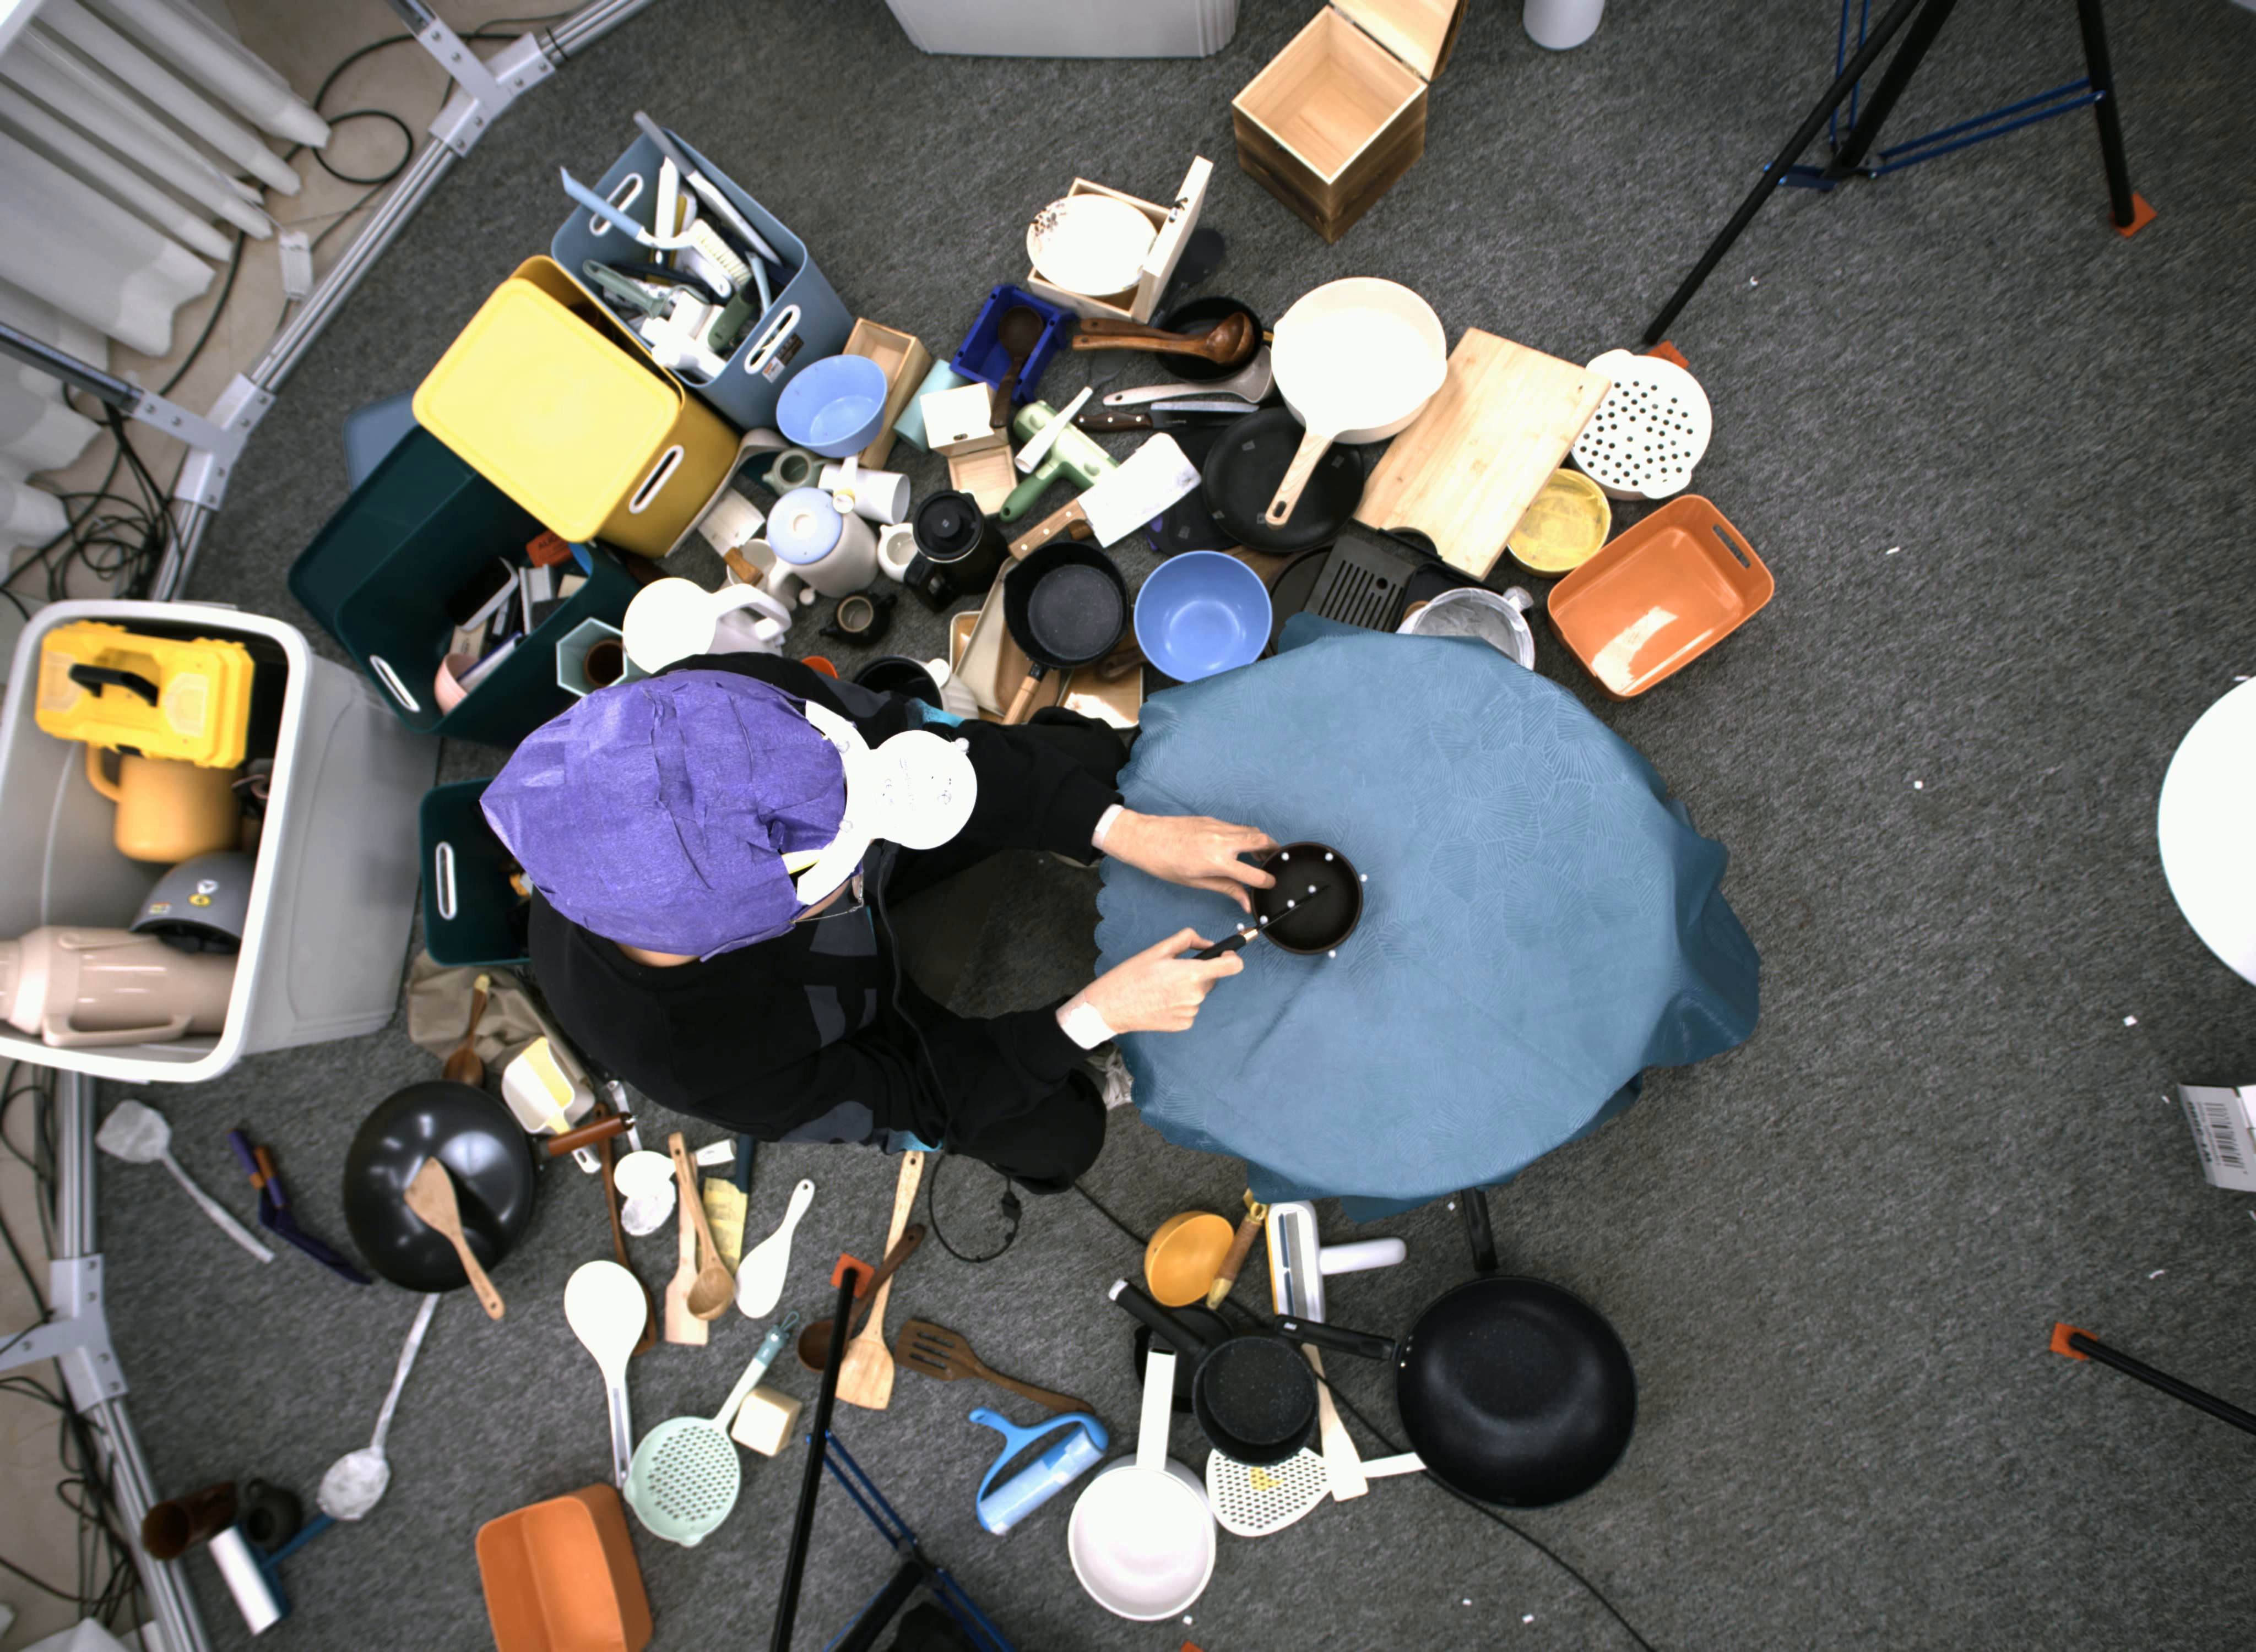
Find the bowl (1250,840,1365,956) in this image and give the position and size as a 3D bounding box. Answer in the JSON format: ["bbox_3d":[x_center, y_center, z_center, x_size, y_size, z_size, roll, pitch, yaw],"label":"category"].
[{"bbox_3d":[0.187,0.075,1.437,0.118,0.070,0.117,-1,84,12],"label":"bowl"}]

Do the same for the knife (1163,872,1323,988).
[{"bbox_3d":[0.121,0.102,1.396,0.222,0.018,0.026,-30,56,-27],"label":"knife"}]
